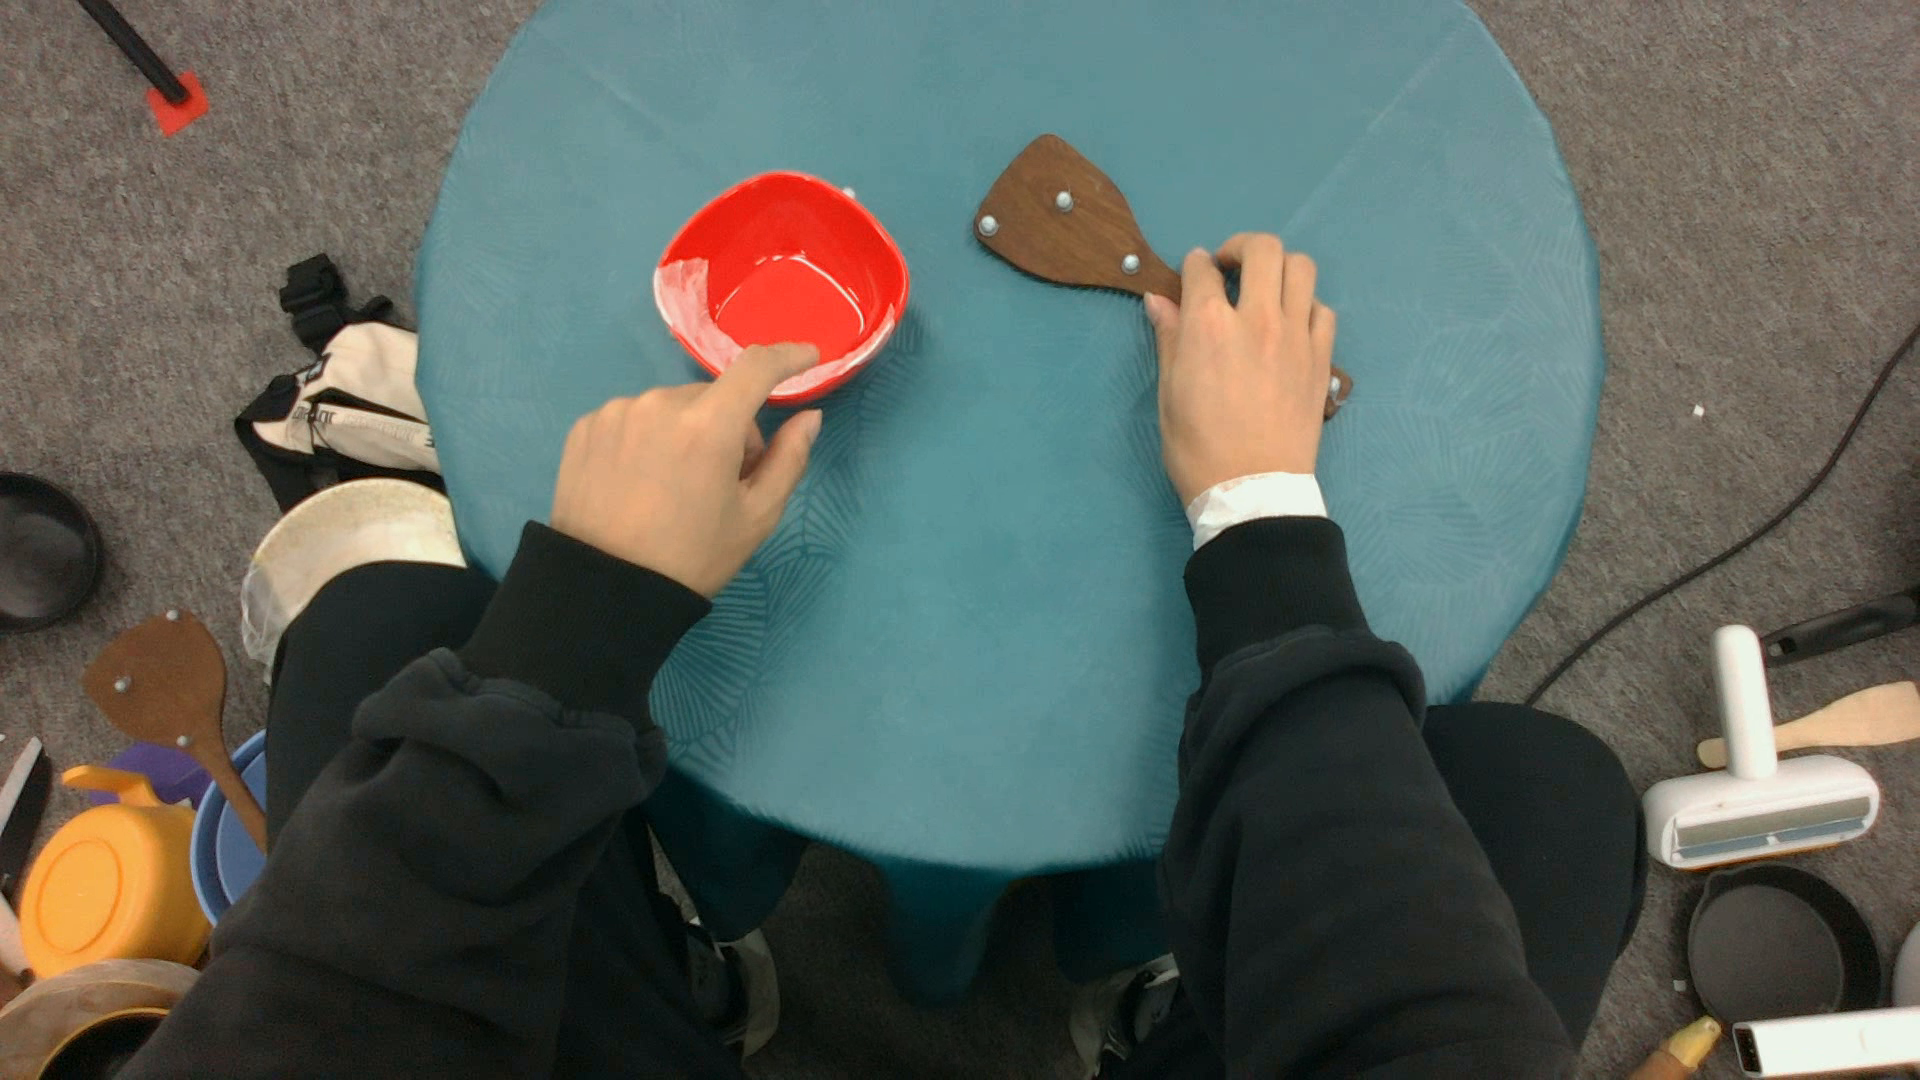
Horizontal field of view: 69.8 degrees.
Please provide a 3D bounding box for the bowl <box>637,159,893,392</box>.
[{"bbox_3d":[-0.092,-0.120,0.666,0.119,0.051,0.119,1,71,-3],"label":"bowl"}]

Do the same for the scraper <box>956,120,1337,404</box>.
[{"bbox_3d":[0.098,-0.135,0.700,0.211,0.011,0.076,35,76,8],"label":"scraper"}]
